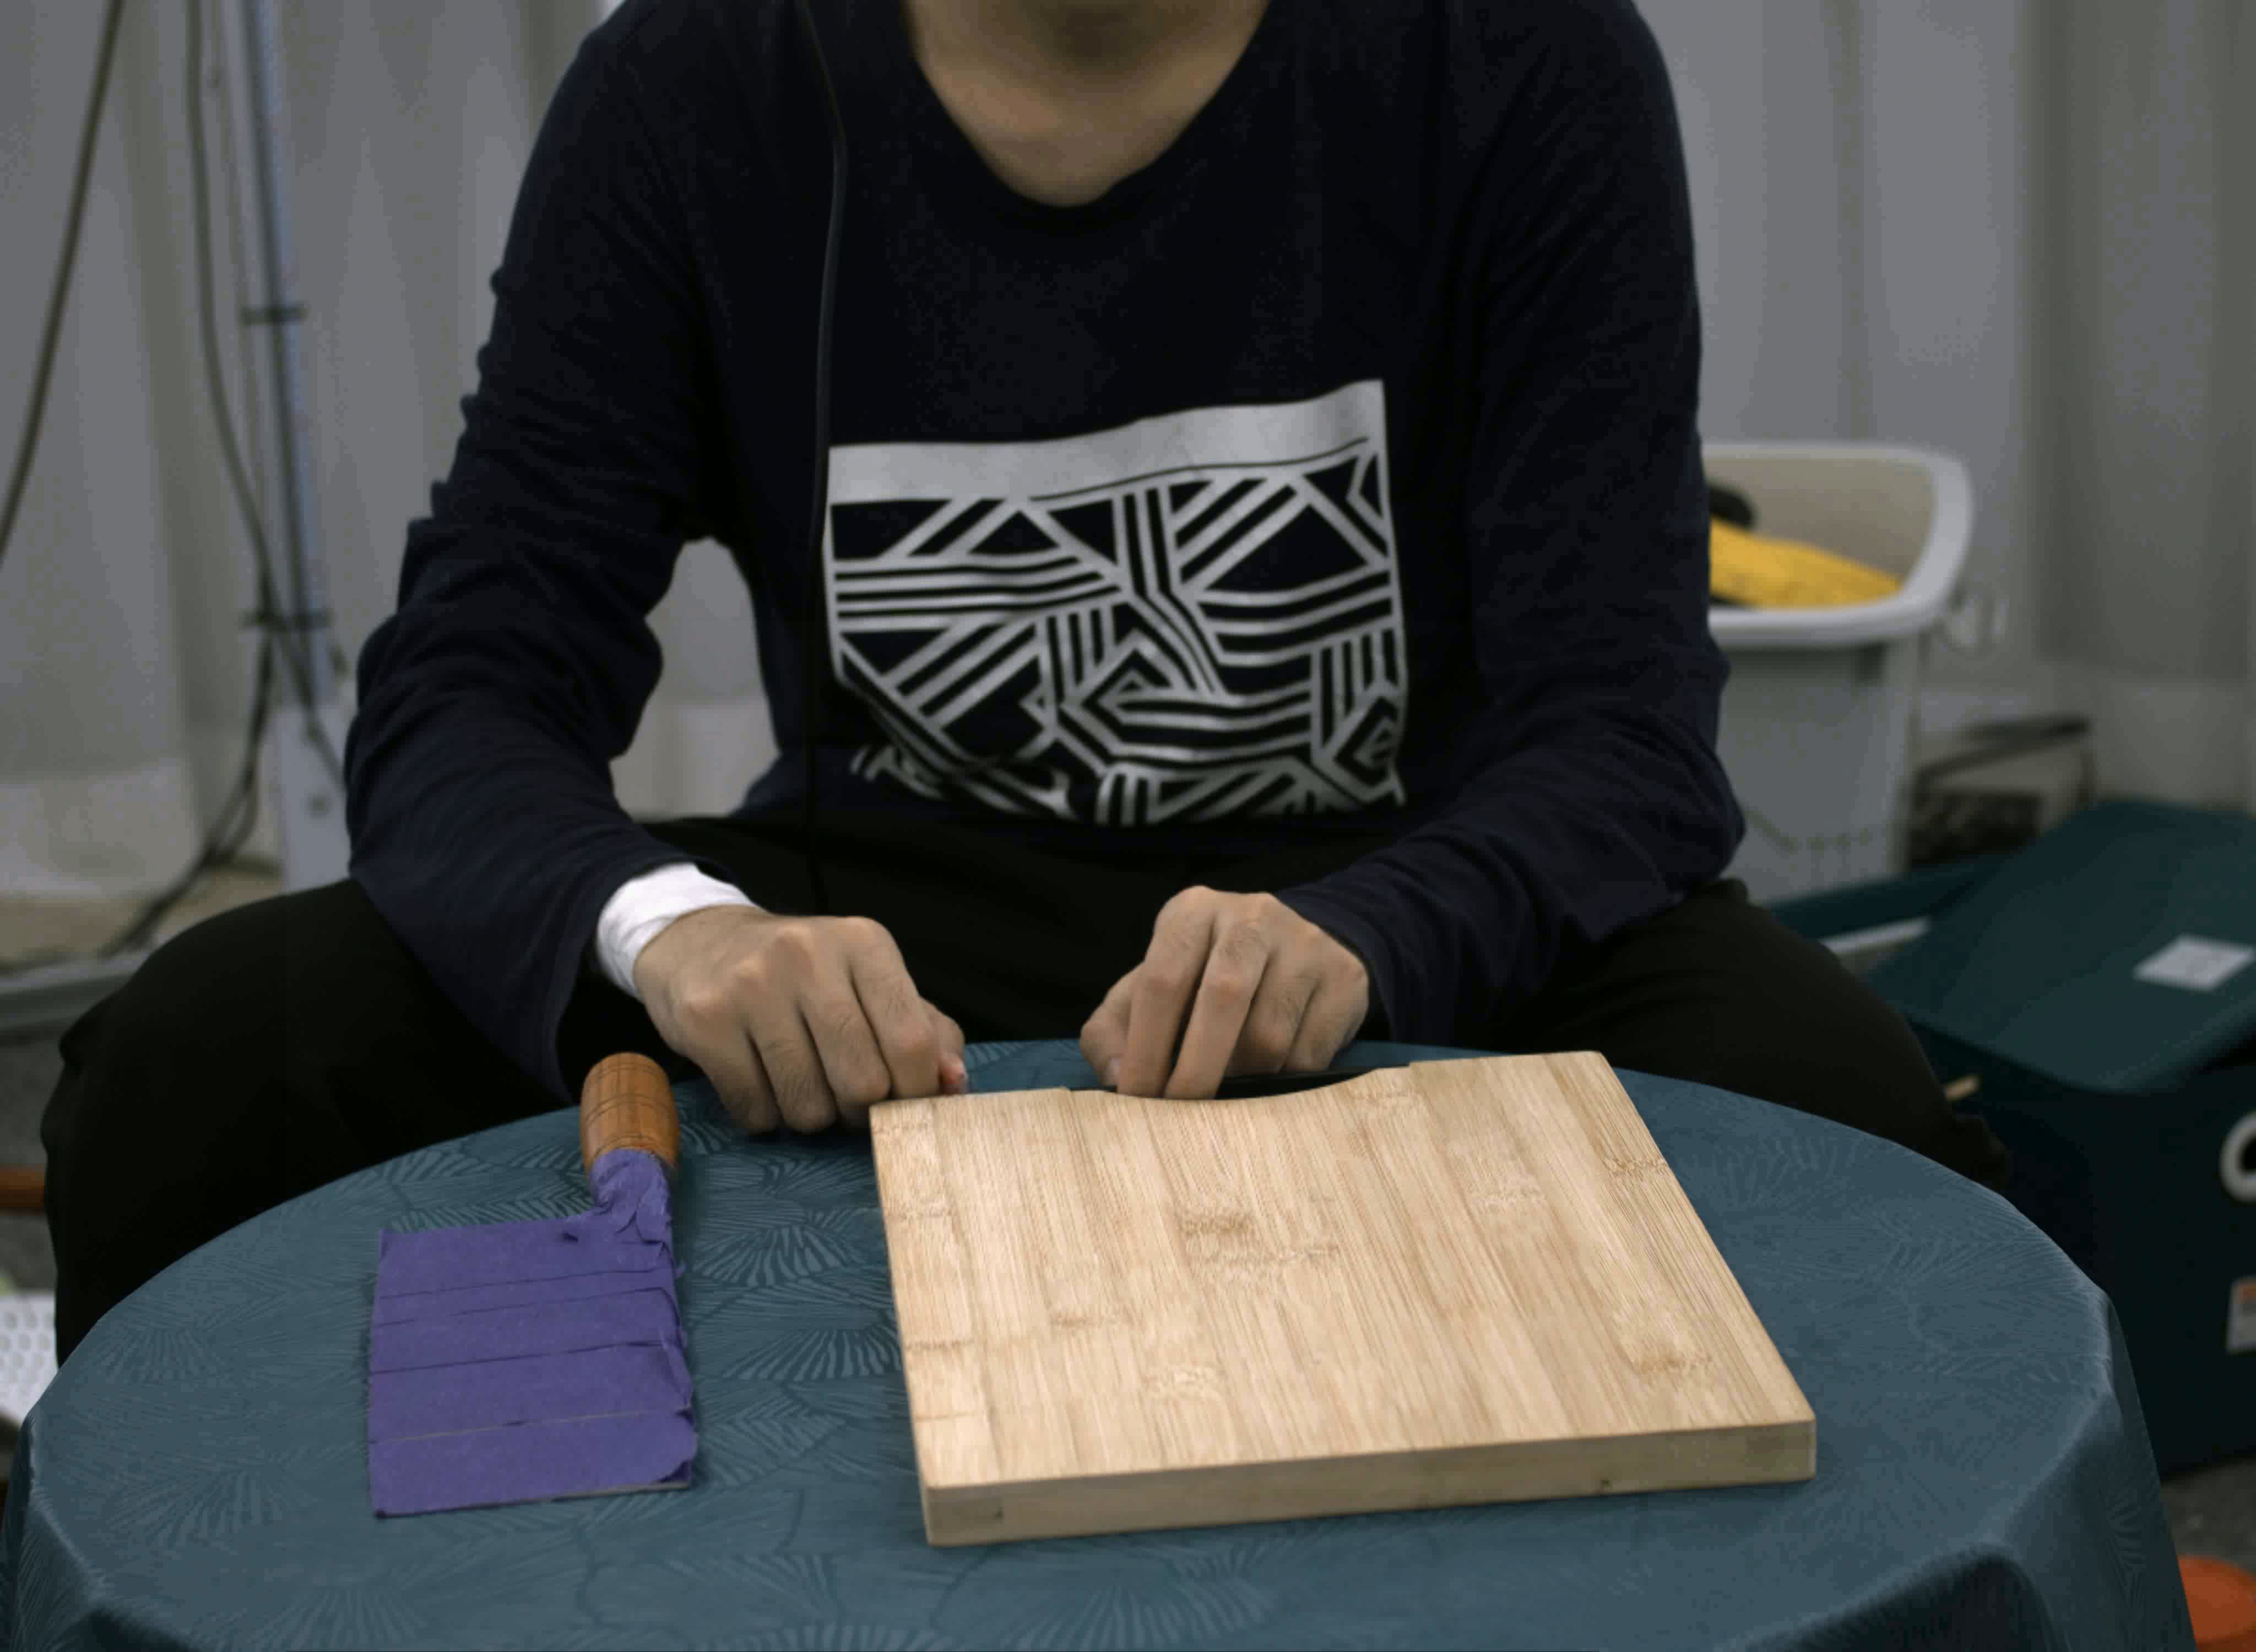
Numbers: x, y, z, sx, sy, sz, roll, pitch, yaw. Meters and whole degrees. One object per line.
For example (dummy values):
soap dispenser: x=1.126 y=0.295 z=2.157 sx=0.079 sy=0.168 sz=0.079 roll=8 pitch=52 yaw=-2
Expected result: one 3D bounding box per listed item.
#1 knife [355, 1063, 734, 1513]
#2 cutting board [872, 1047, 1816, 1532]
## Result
knife: x=-0.178 y=0.133 z=1.629 sx=0.103 sy=0.032 sz=0.317 roll=-4 pitch=15 yaw=-6
cutting board: x=0.051 y=0.131 z=1.614 sx=0.250 sy=0.023 sz=0.351 roll=-4 pitch=15 yaw=-5
